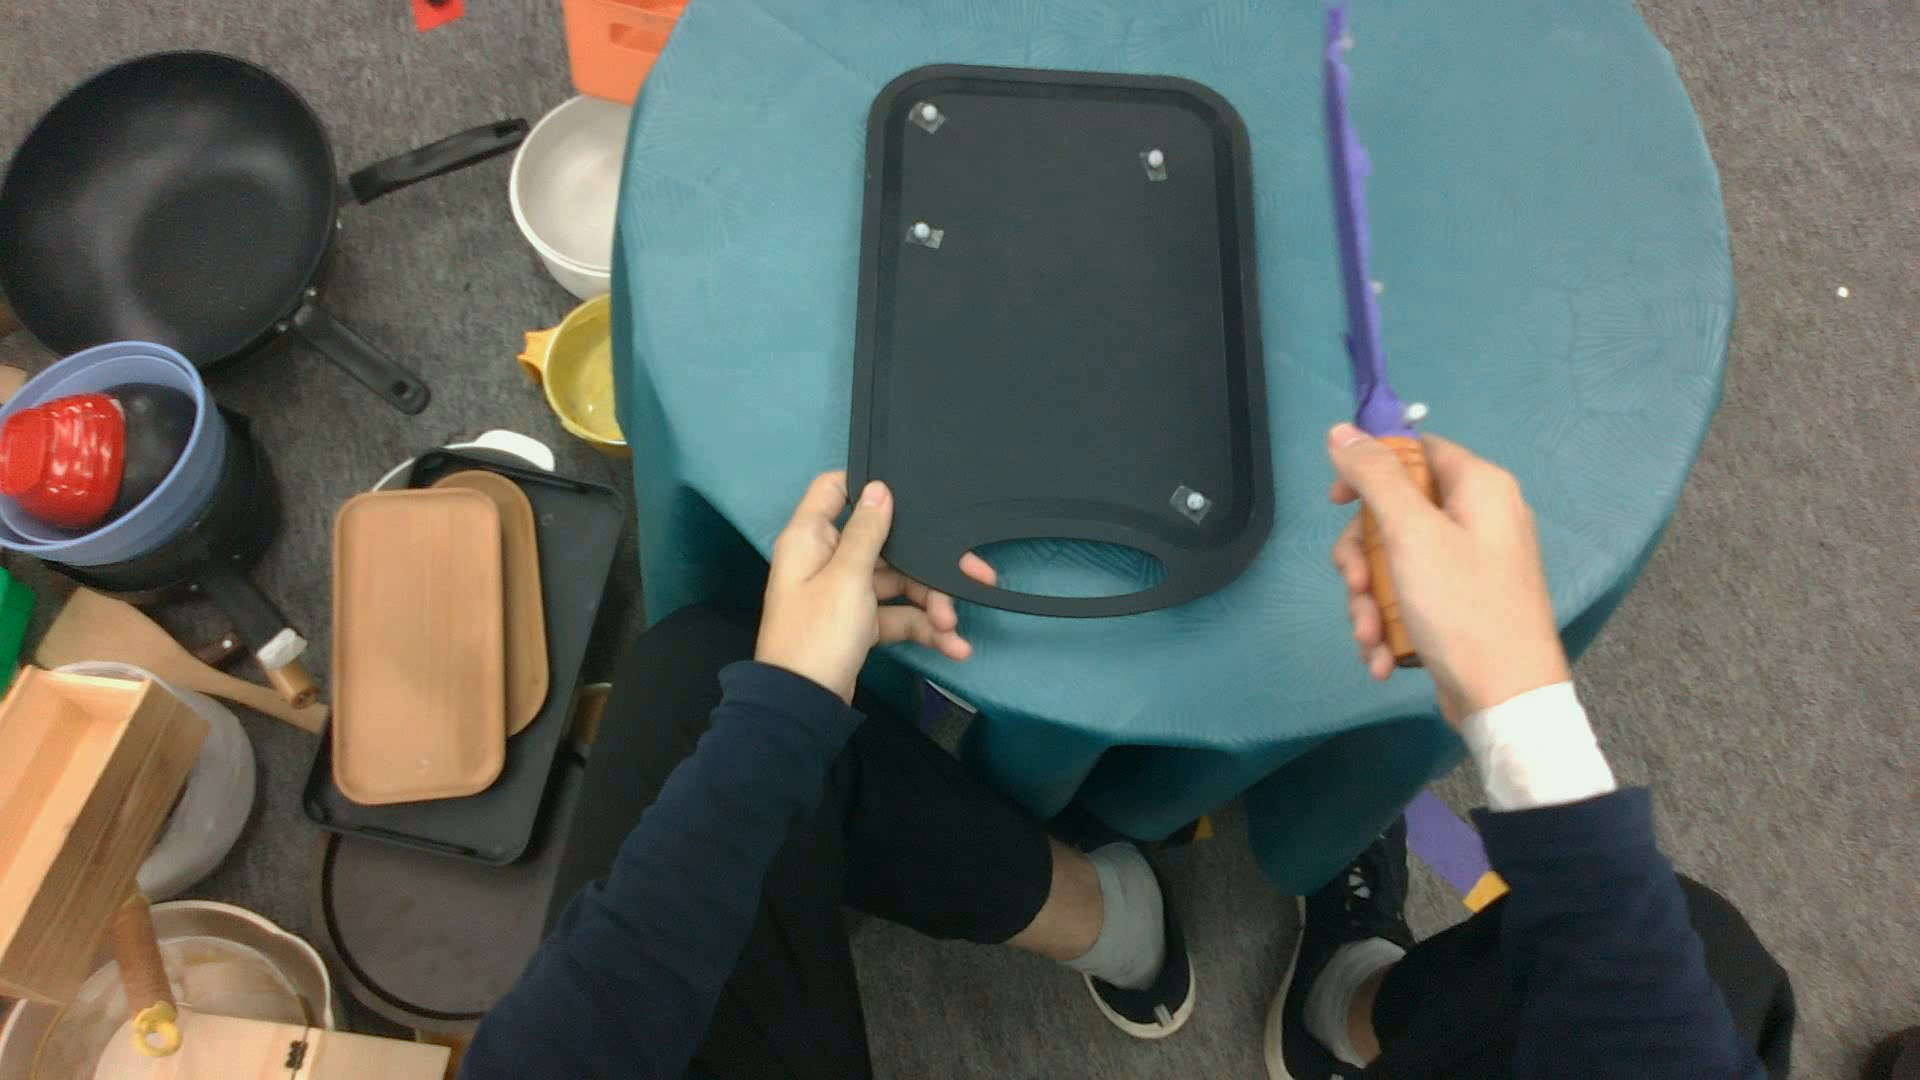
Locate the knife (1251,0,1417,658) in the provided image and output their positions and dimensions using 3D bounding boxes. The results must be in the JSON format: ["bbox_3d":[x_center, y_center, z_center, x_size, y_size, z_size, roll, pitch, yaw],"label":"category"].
[{"bbox_3d":[0.160,-0.096,0.612,0.032,0.103,0.316,-6,71,9],"label":"knife"}]

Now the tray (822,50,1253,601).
[{"bbox_3d":[0.040,-0.122,0.704,0.211,0.010,0.326,2,67,-3],"label":"tray"}]
